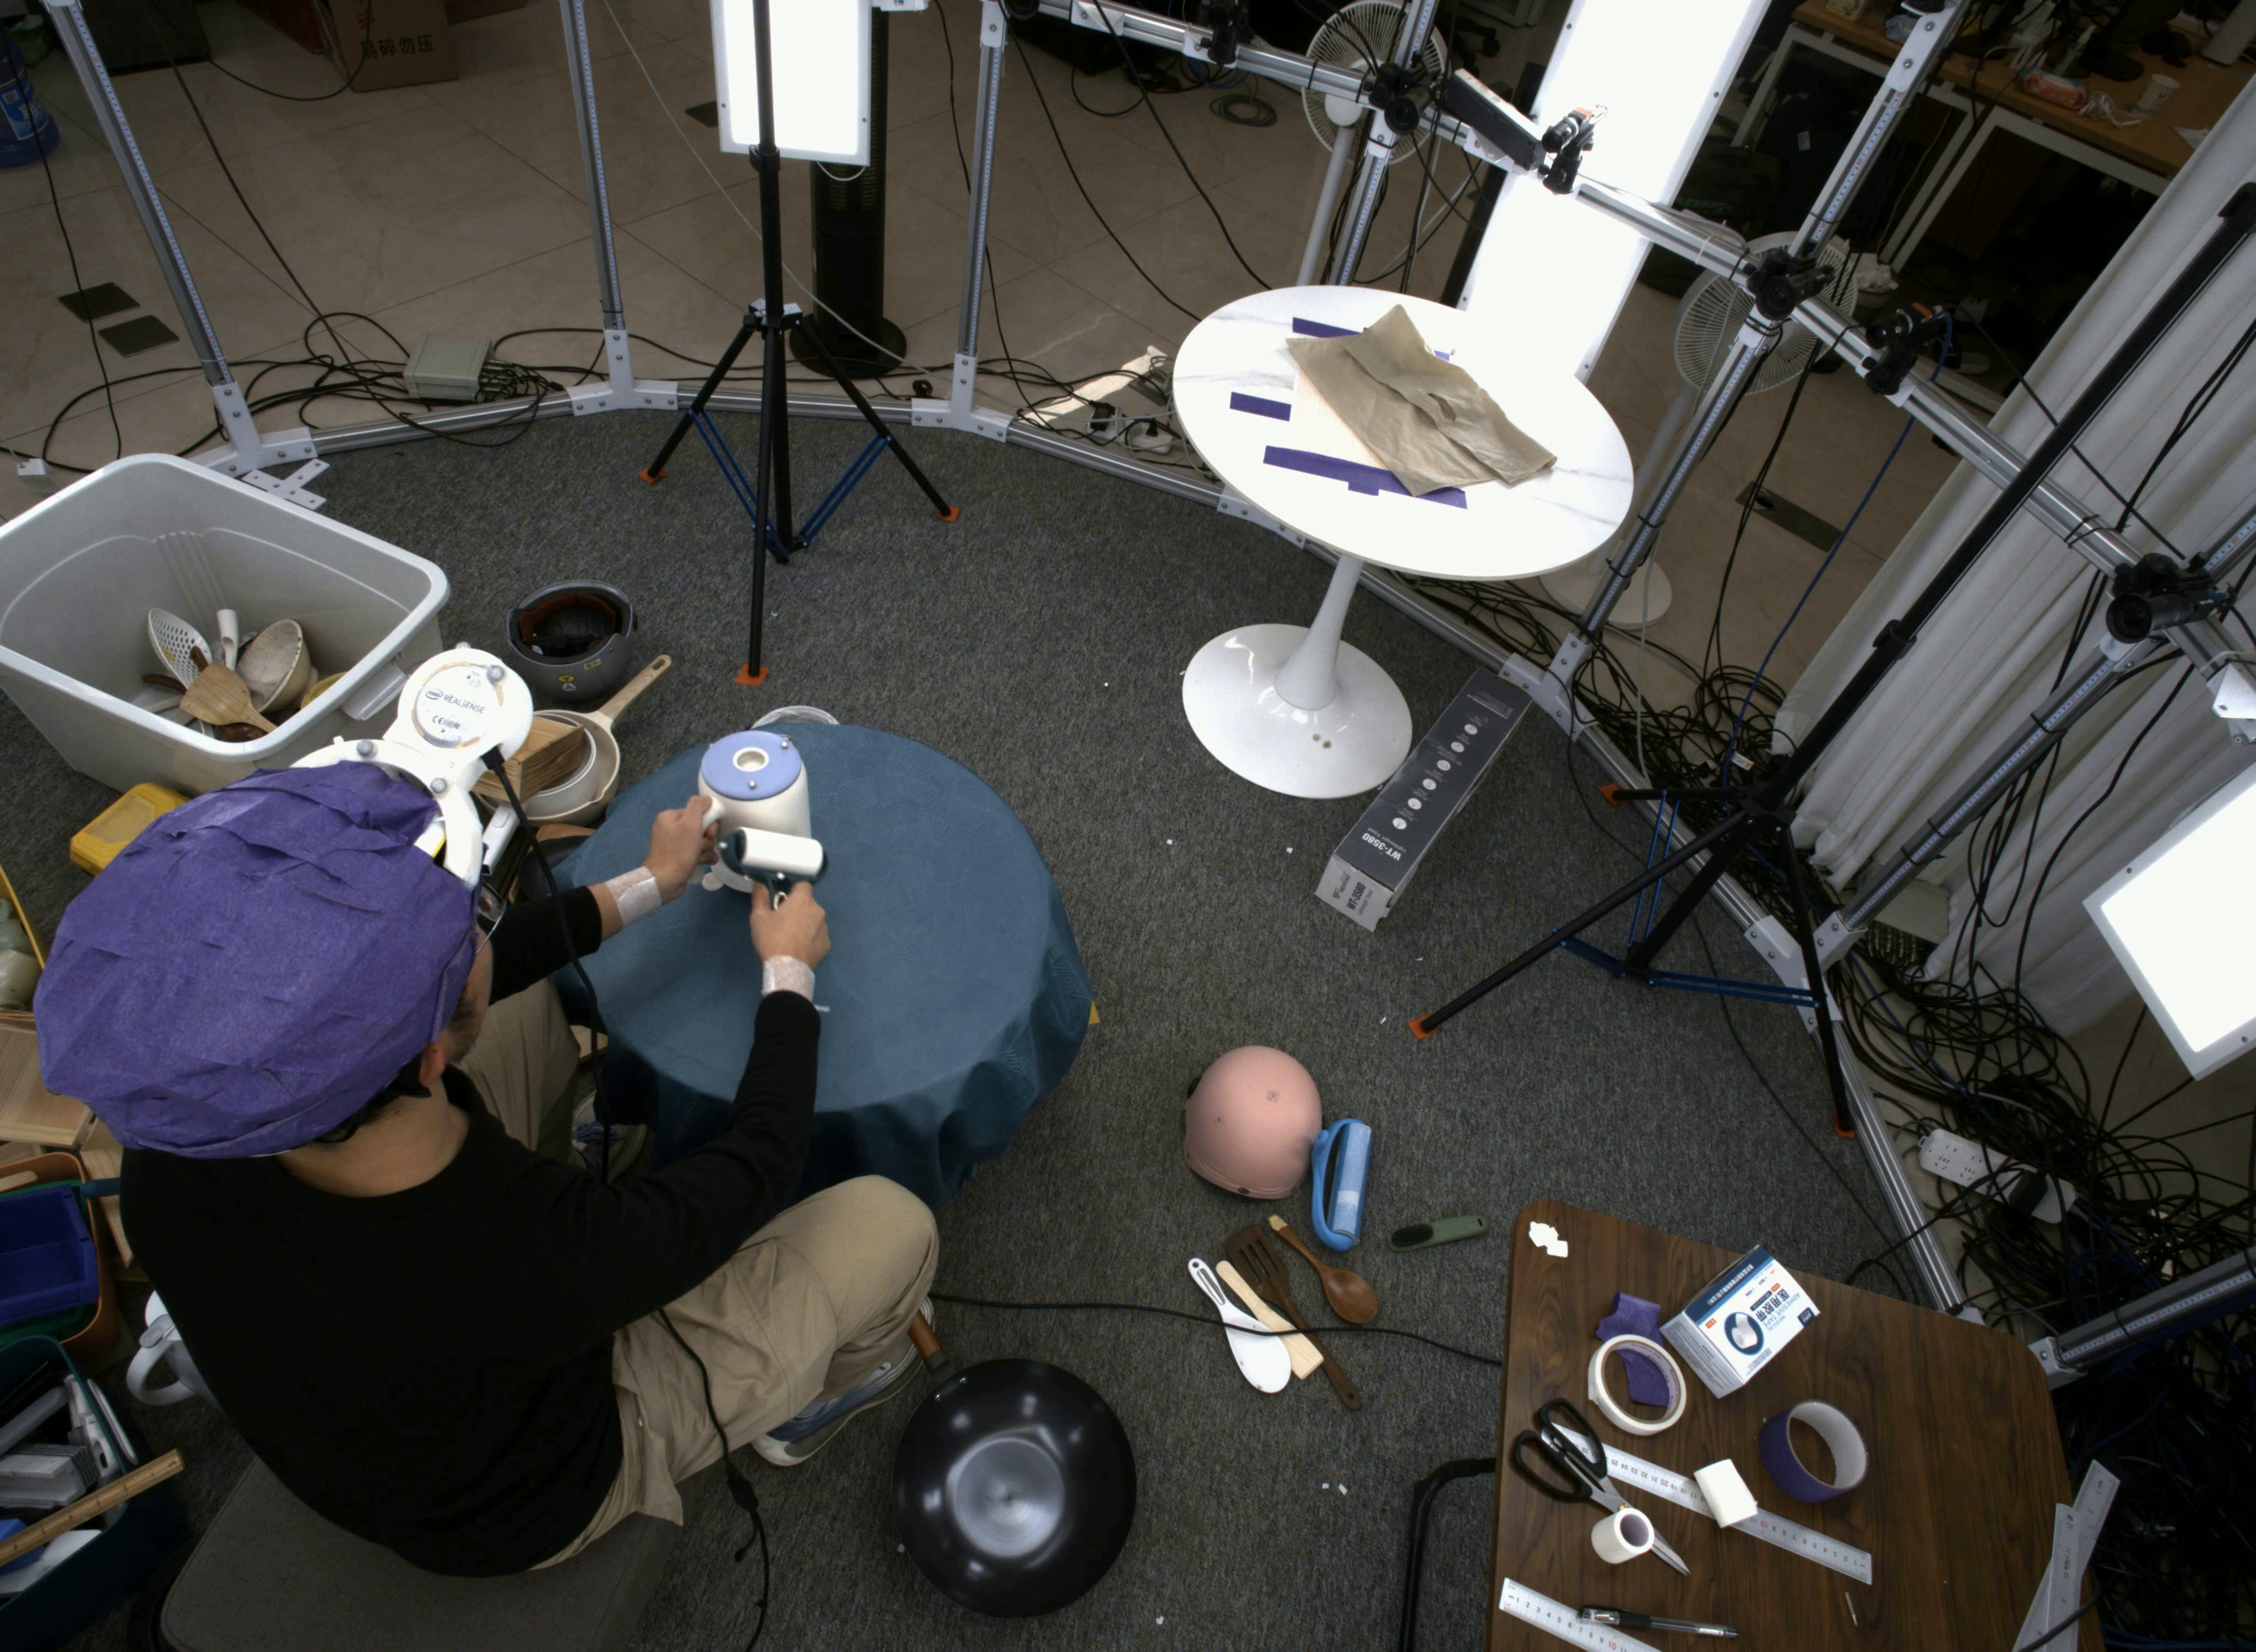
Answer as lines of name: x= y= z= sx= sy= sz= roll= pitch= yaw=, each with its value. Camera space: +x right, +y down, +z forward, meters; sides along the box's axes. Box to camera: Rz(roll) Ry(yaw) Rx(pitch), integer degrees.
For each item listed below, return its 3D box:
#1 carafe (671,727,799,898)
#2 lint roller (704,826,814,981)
carafe: x=-0.490 y=-0.004 z=1.583 sx=0.129 sy=0.187 sz=0.190 roll=25 pitch=49 yaw=16
lint roller: x=-0.414 y=0.086 z=1.490 sx=0.137 sy=0.048 sz=0.177 roll=9 pitch=53 yaw=-45
